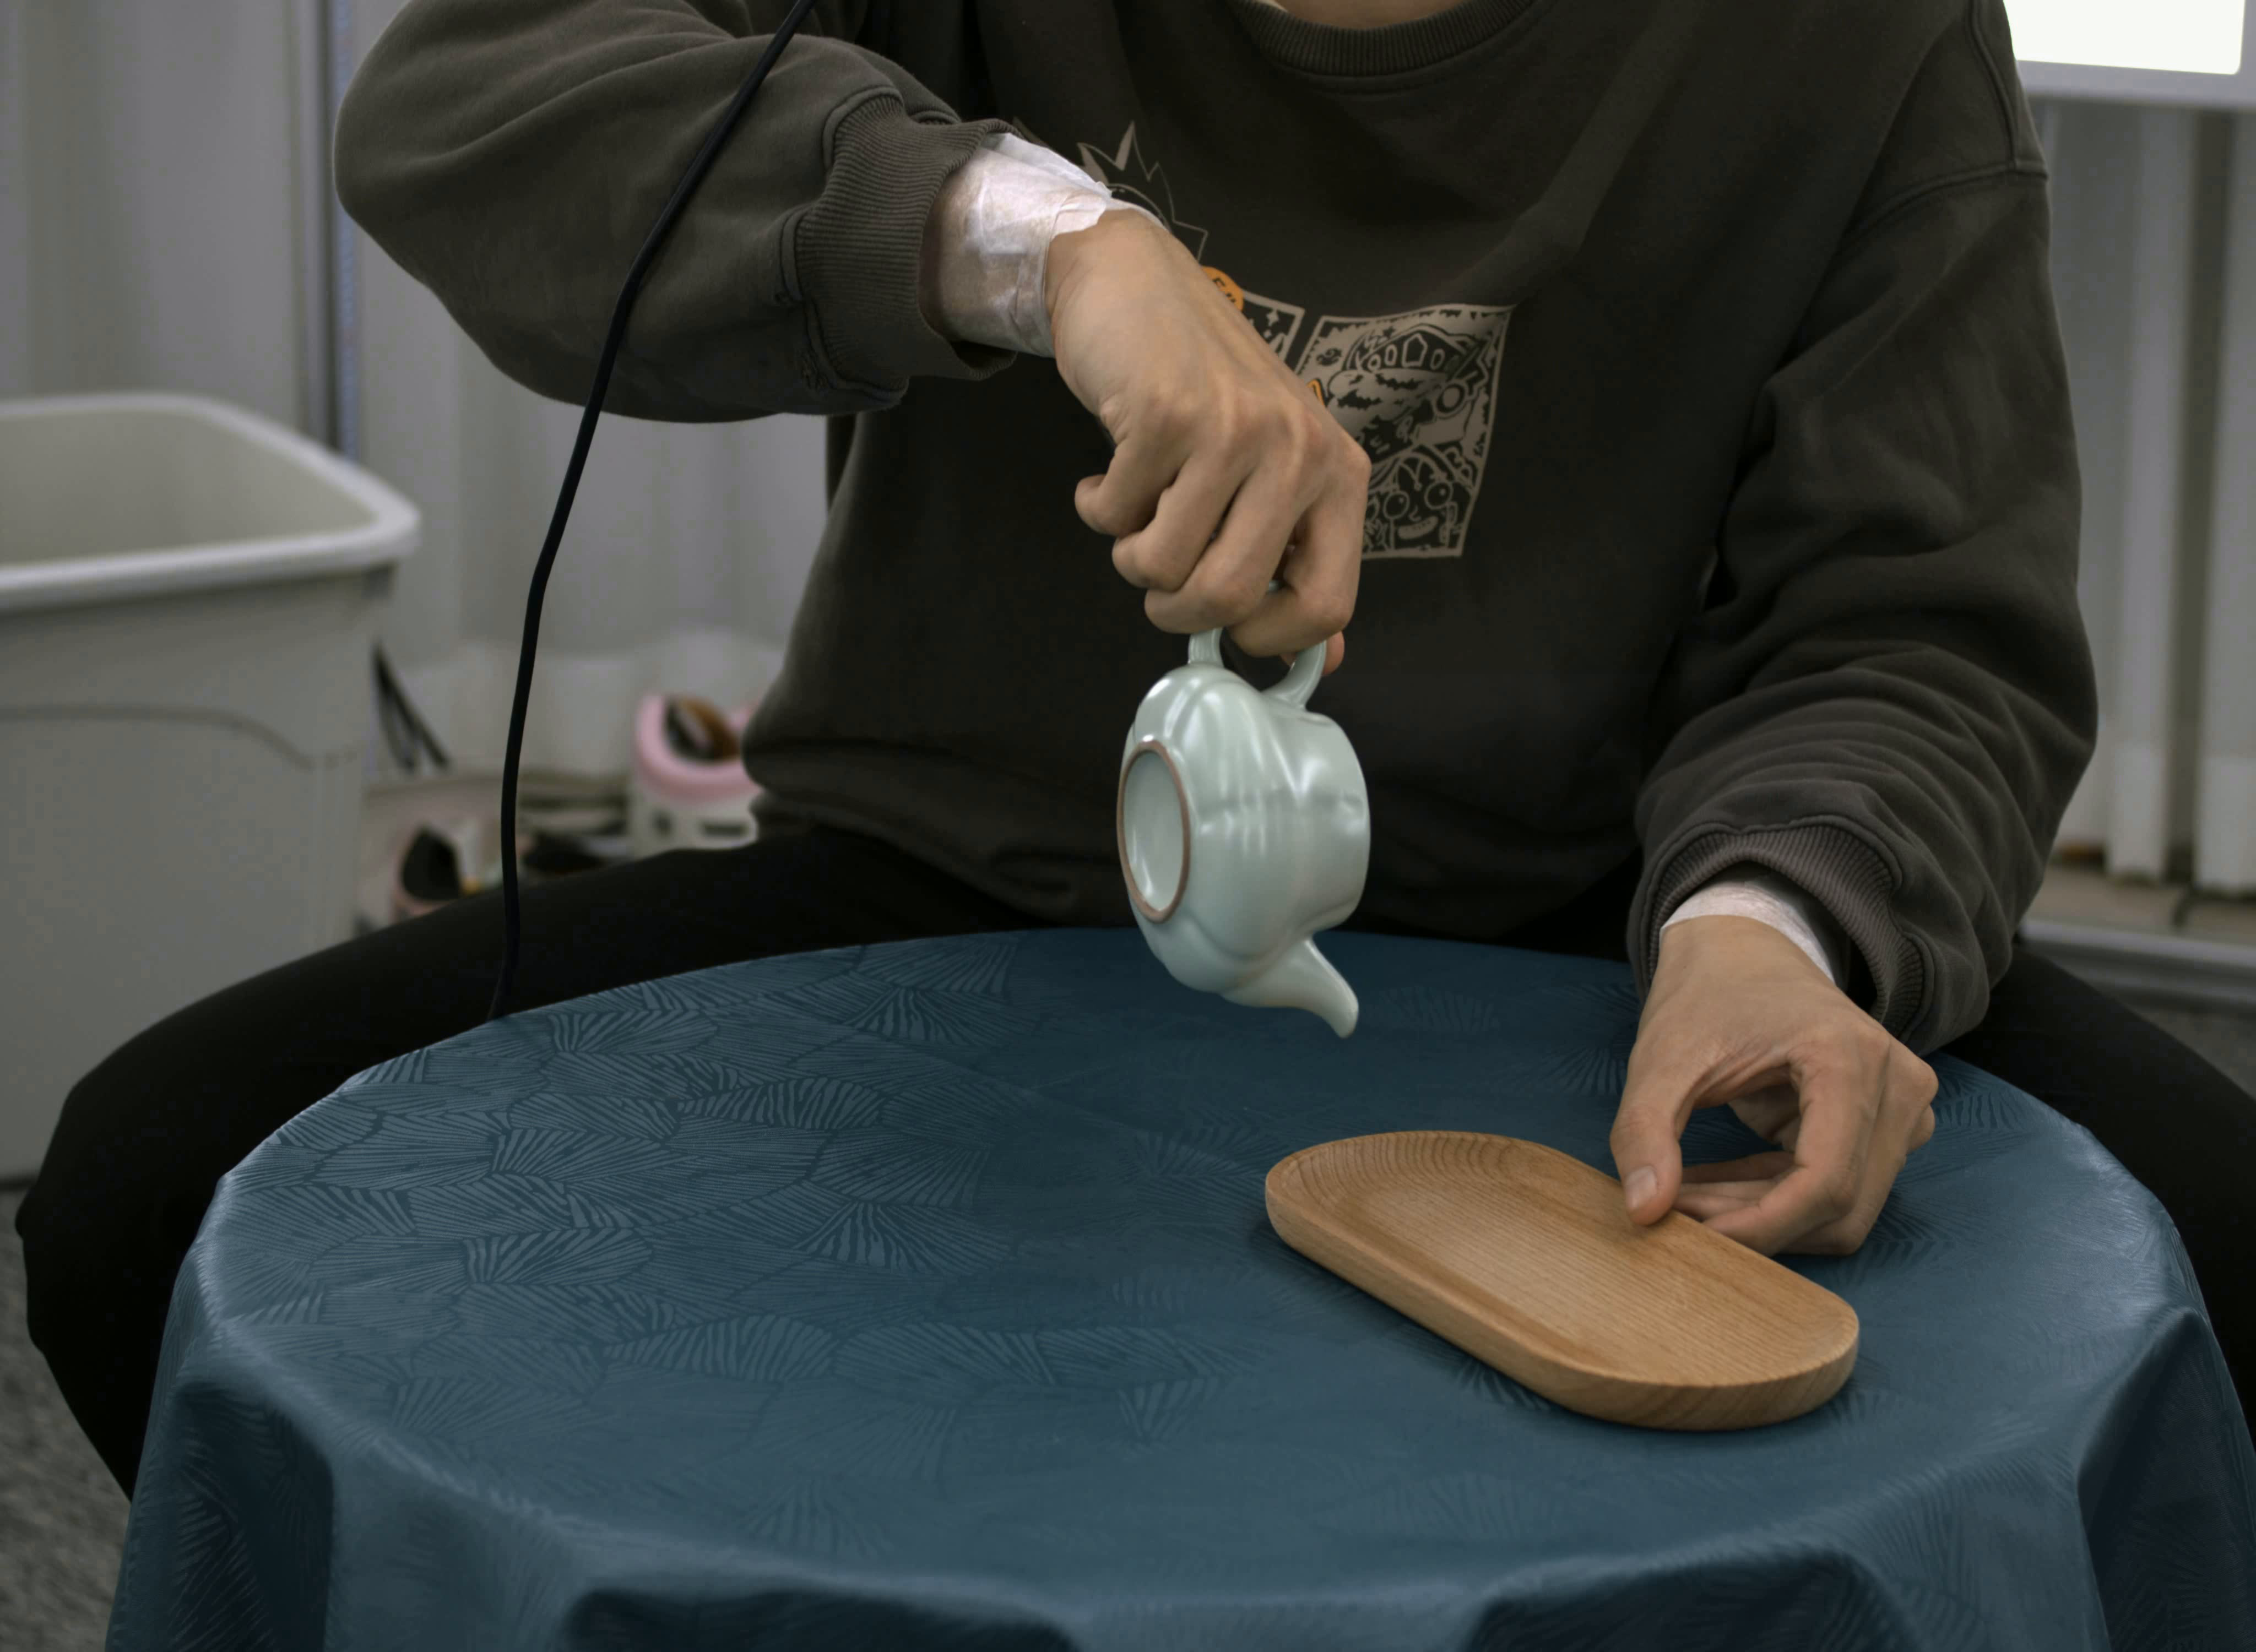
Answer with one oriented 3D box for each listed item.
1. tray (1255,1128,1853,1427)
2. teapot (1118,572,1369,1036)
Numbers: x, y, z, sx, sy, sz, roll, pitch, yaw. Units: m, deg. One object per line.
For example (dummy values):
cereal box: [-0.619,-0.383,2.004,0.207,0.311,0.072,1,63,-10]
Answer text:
tray: [0.121,0.130,1.541,0.102,0.020,0.228,-8,16,-29]
teapot: [0.034,-0.006,1.540,0.061,0.137,0.095,-2,-1,-21]
